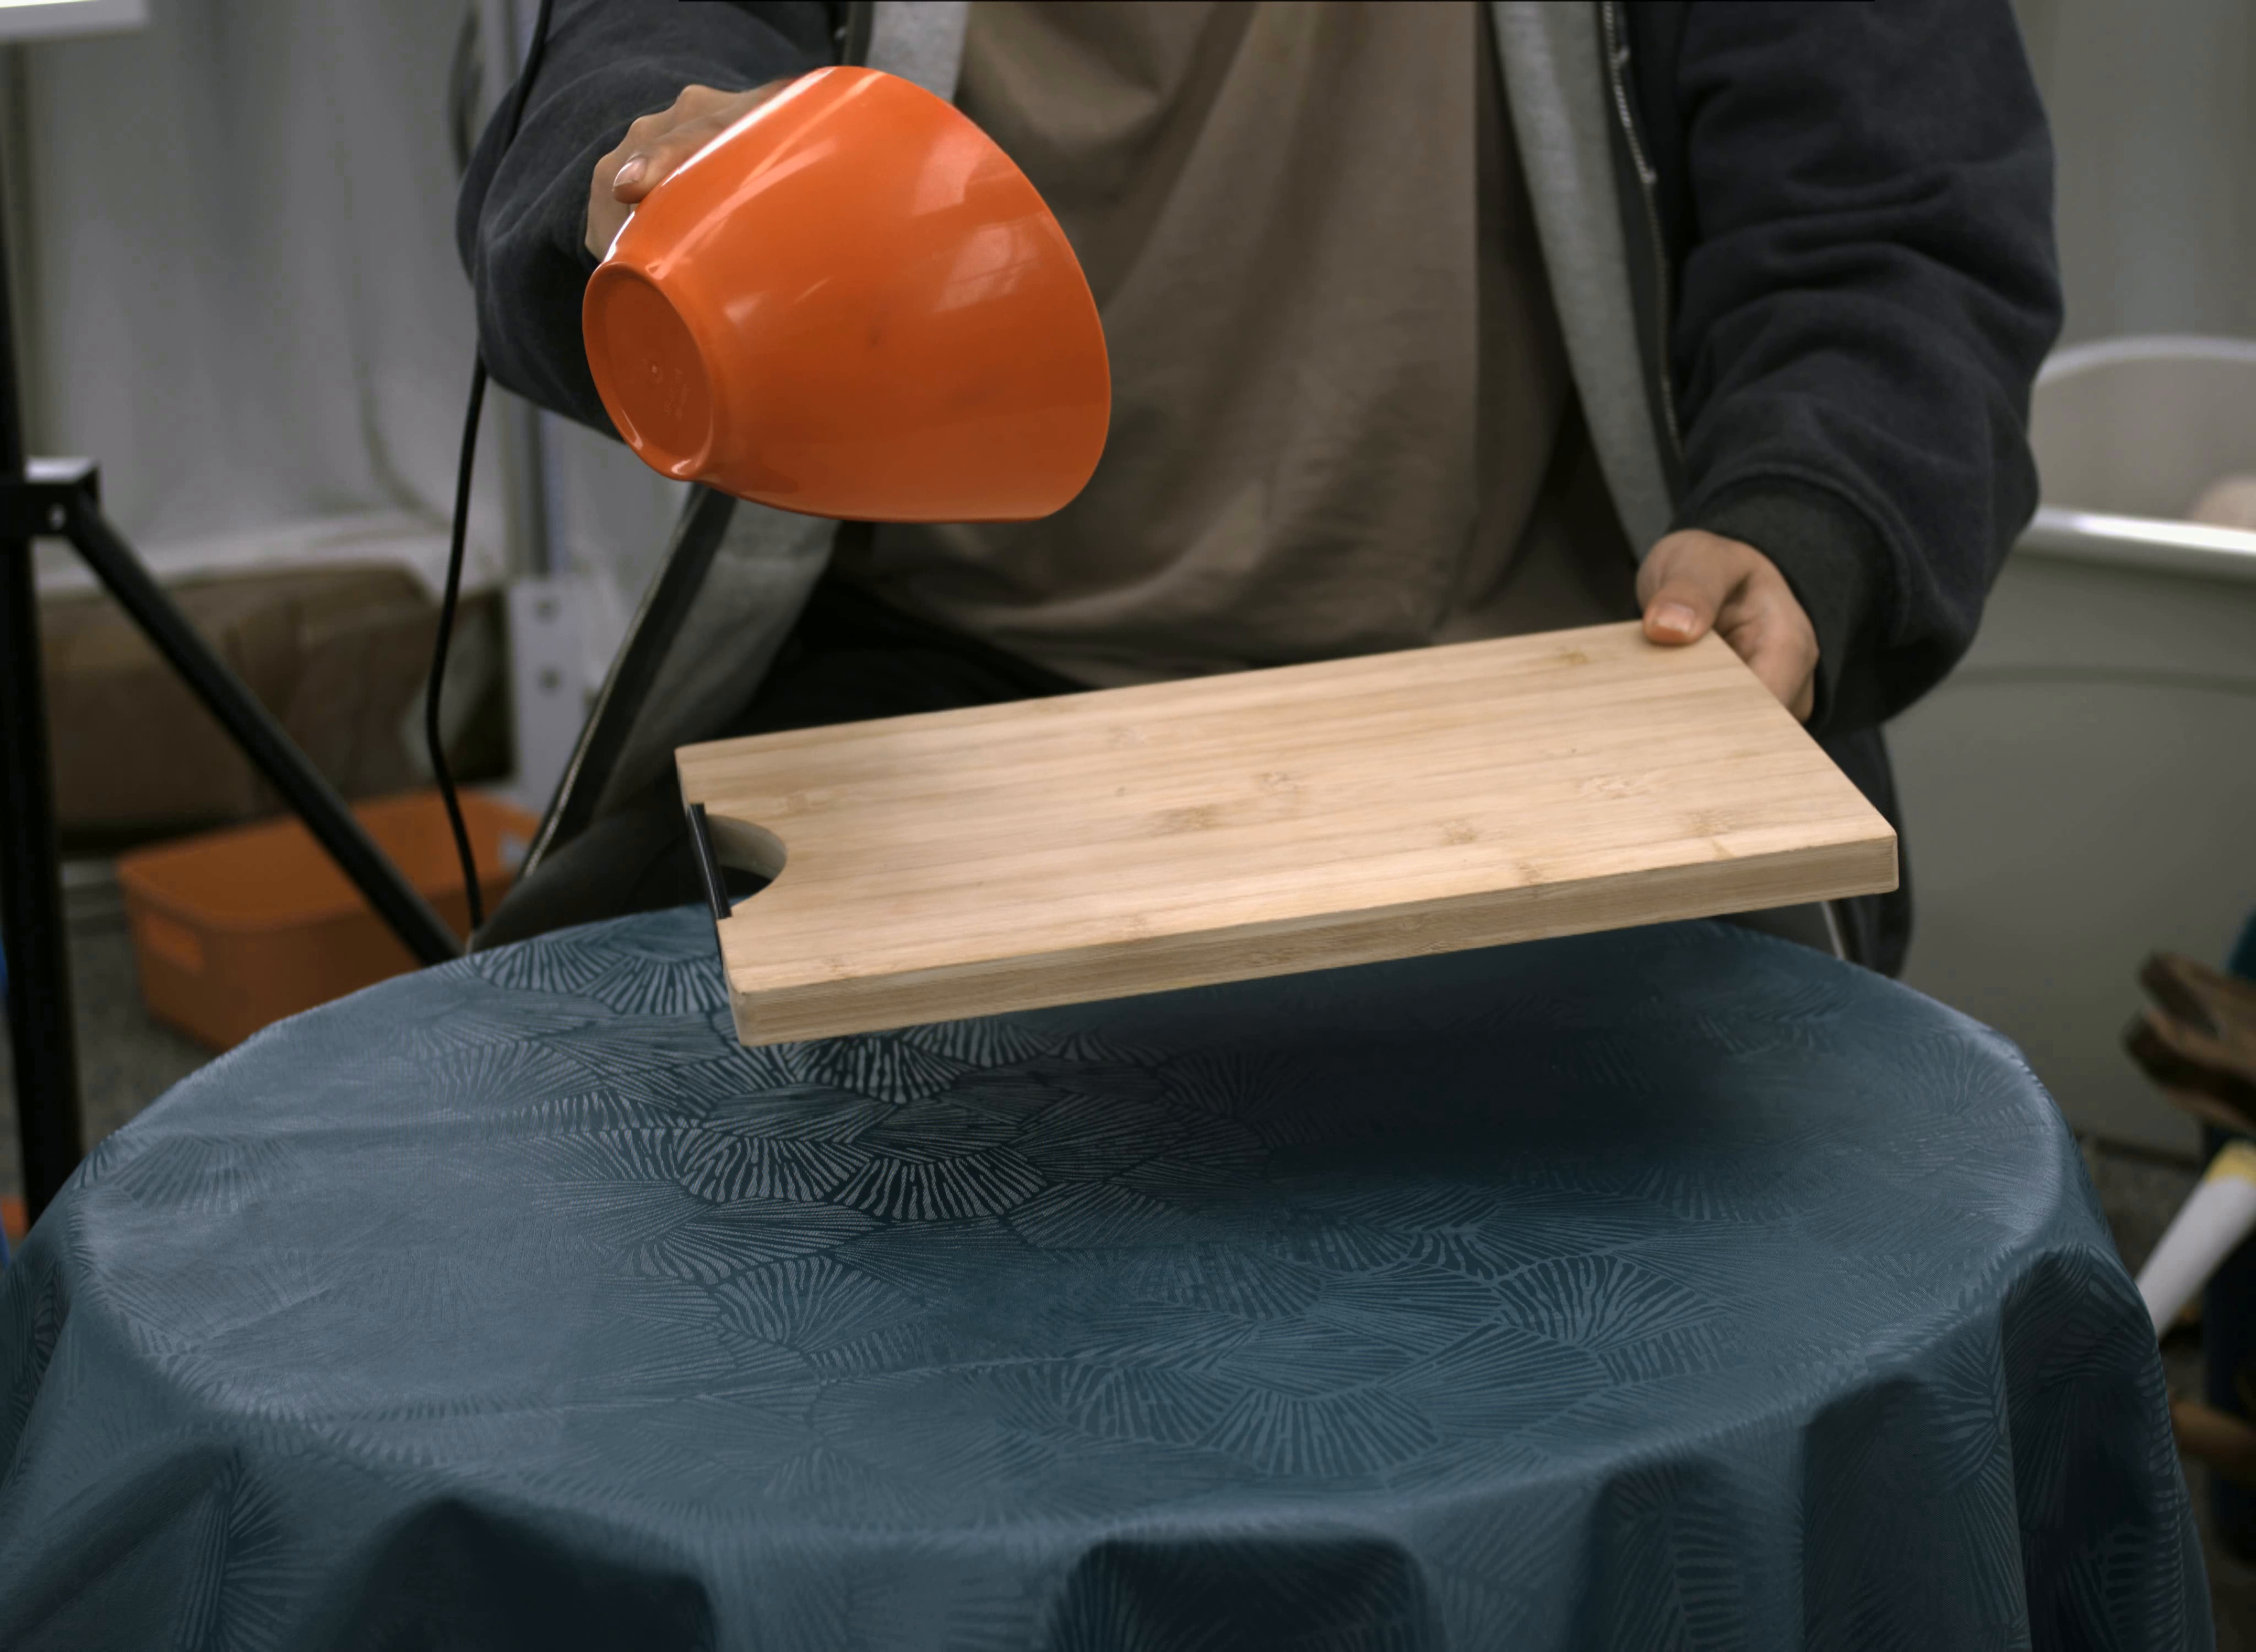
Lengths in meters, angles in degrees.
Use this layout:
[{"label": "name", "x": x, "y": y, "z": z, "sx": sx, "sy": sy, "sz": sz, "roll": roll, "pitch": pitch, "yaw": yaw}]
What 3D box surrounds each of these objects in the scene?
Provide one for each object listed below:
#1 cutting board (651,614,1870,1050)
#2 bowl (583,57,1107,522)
[{"label": "cutting board", "x": 0.033, "y": -0.002, "z": 1.628, "sx": 0.345, "sy": 0.023, "sz": 0.253, "roll": -8, "pitch": 18, "yaw": -5}, {"label": "bowl", "x": -0.092, "y": -0.142, "z": 1.552, "sx": 0.103, "sy": 0.147, "sz": 0.151, "roll": -25, "pitch": 25, "yaw": -29}]
